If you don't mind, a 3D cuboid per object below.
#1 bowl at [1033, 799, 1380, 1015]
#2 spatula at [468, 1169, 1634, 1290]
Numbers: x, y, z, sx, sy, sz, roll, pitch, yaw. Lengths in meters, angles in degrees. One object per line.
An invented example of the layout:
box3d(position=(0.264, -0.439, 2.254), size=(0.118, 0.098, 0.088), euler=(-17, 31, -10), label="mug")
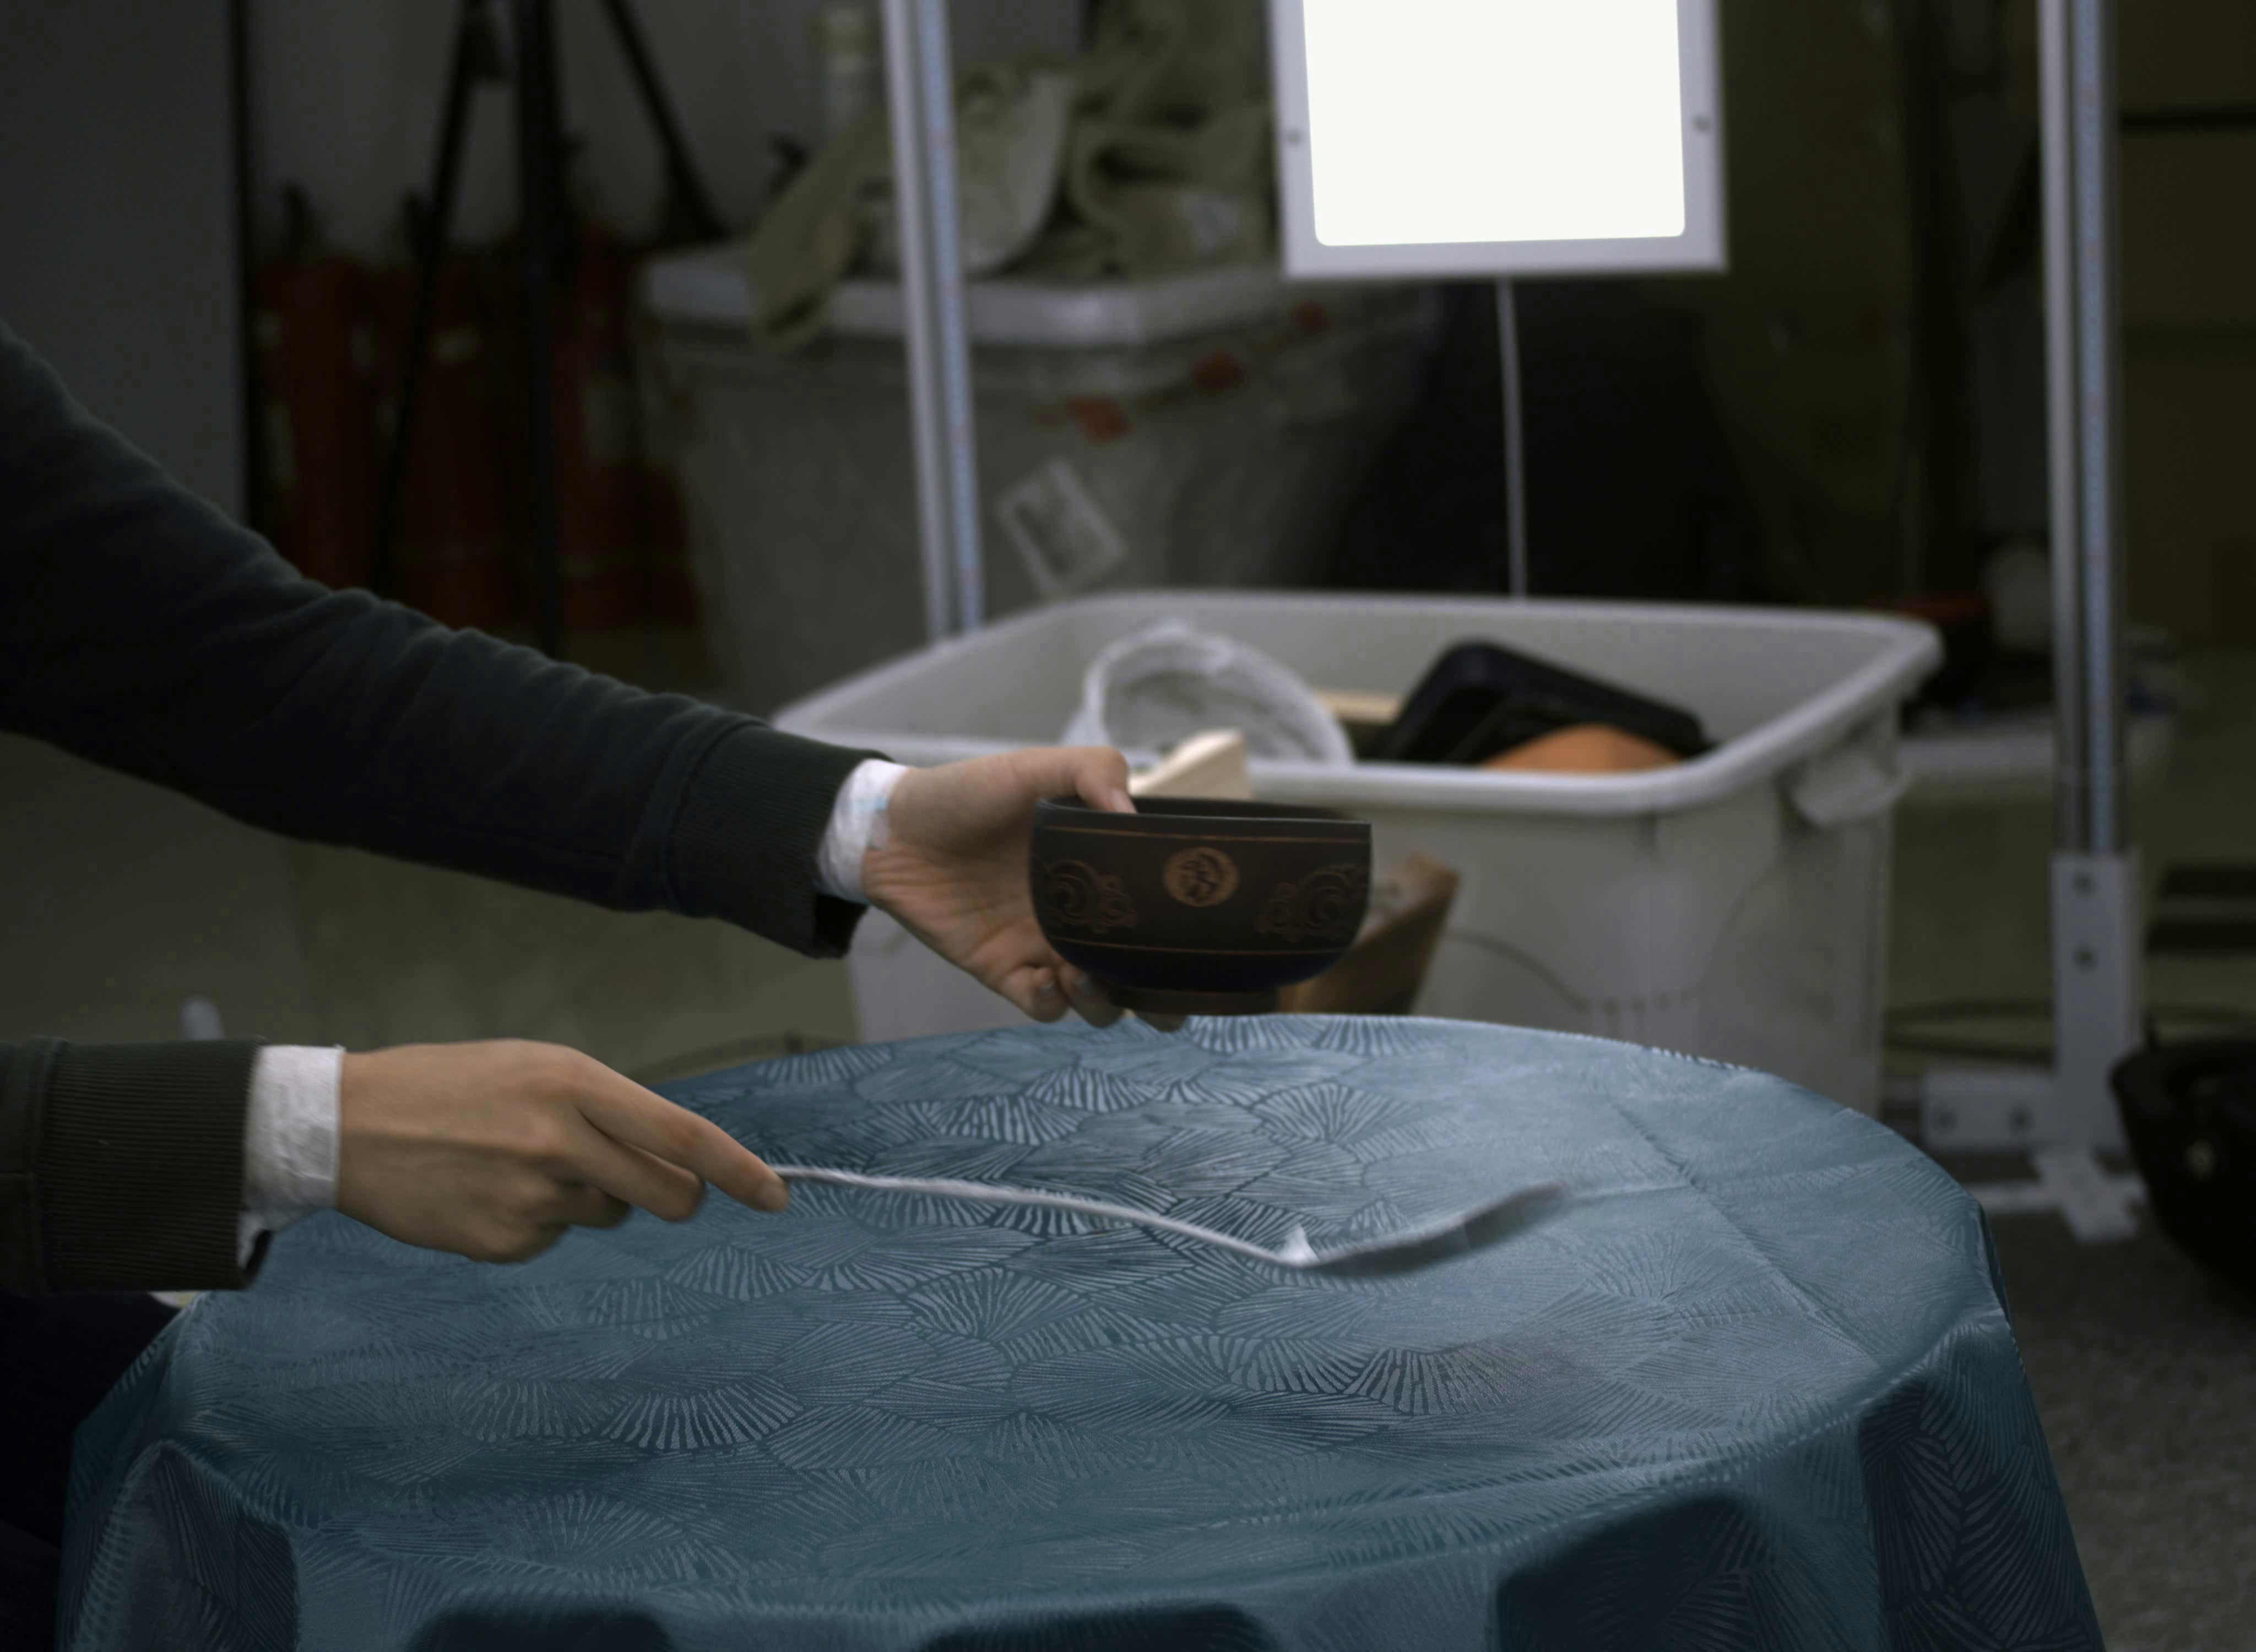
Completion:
box3d(position=(0.026, 0.027, 1.858), size=(0.117, 0.070, 0.118), euler=(2, 1, -1), label="bowl")
box3d(position=(-0.028, 0.113, 1.696), size=(0.367, 0.045, 0.098), euler=(6, -3, 10), label="spatula")
